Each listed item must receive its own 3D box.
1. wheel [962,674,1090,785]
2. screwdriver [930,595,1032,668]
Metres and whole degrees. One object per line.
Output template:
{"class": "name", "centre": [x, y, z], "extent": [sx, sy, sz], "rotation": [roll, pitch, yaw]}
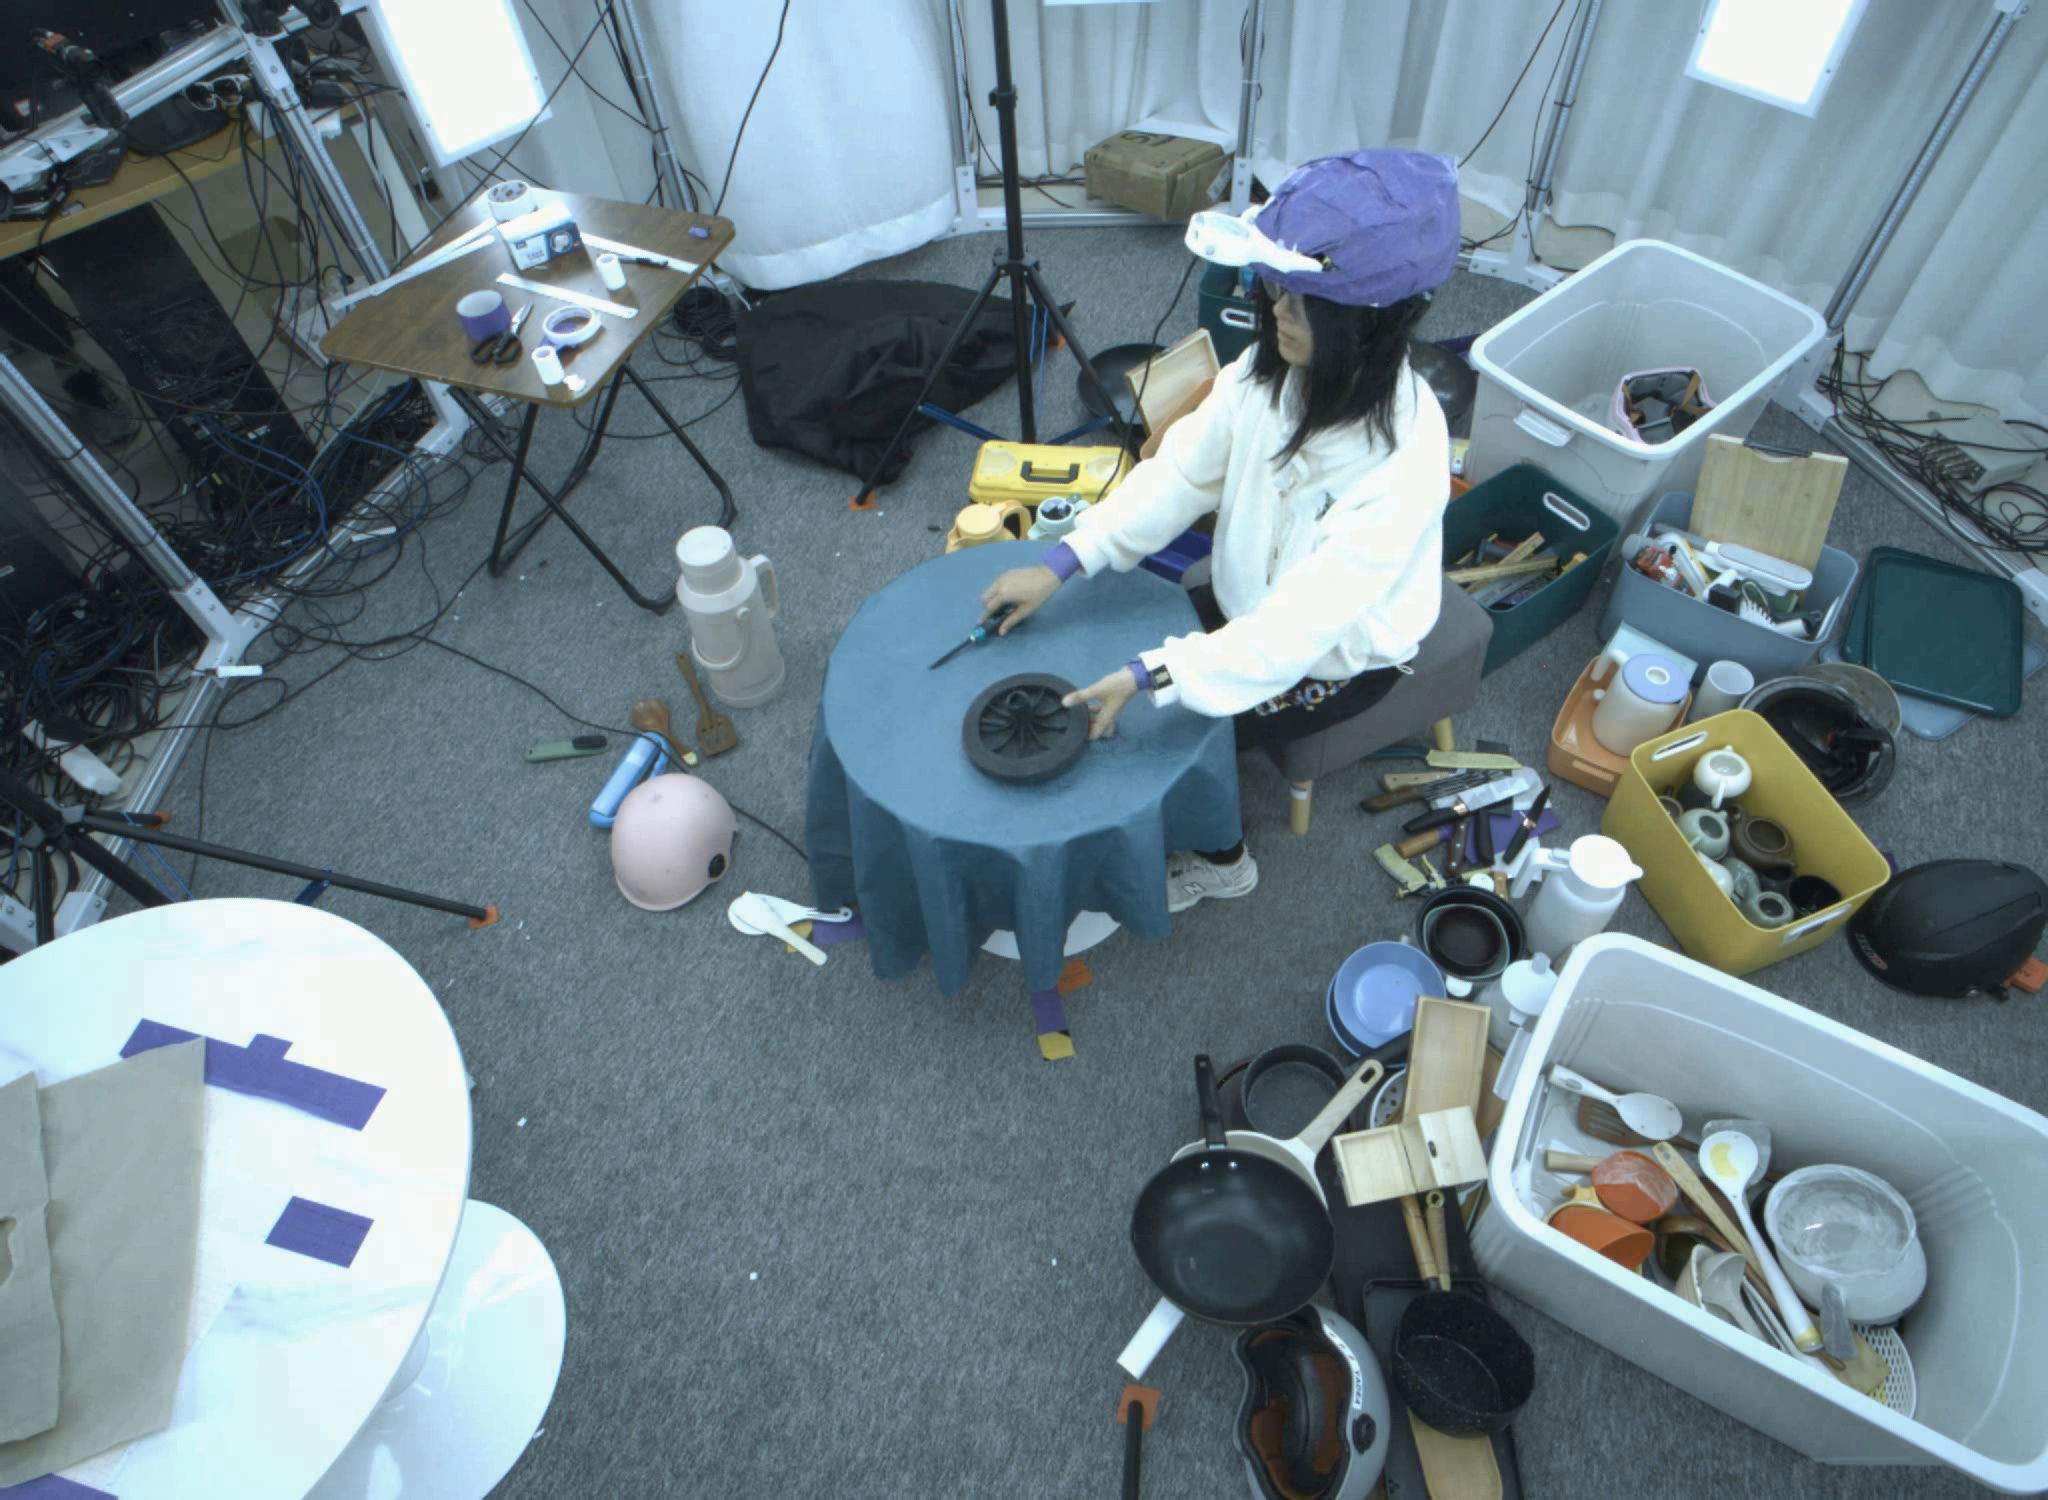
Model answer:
{"class": "wheel", "centre": [-0.003, -0.044, 1.767], "extent": [0.189, 0.080, 0.185], "rotation": [-14, 54, 5]}
{"class": "screwdriver", "centre": [-0.069, -0.181, 1.903], "extent": [0.191, 0.034, 0.033], "rotation": [-36, 61, -12]}
